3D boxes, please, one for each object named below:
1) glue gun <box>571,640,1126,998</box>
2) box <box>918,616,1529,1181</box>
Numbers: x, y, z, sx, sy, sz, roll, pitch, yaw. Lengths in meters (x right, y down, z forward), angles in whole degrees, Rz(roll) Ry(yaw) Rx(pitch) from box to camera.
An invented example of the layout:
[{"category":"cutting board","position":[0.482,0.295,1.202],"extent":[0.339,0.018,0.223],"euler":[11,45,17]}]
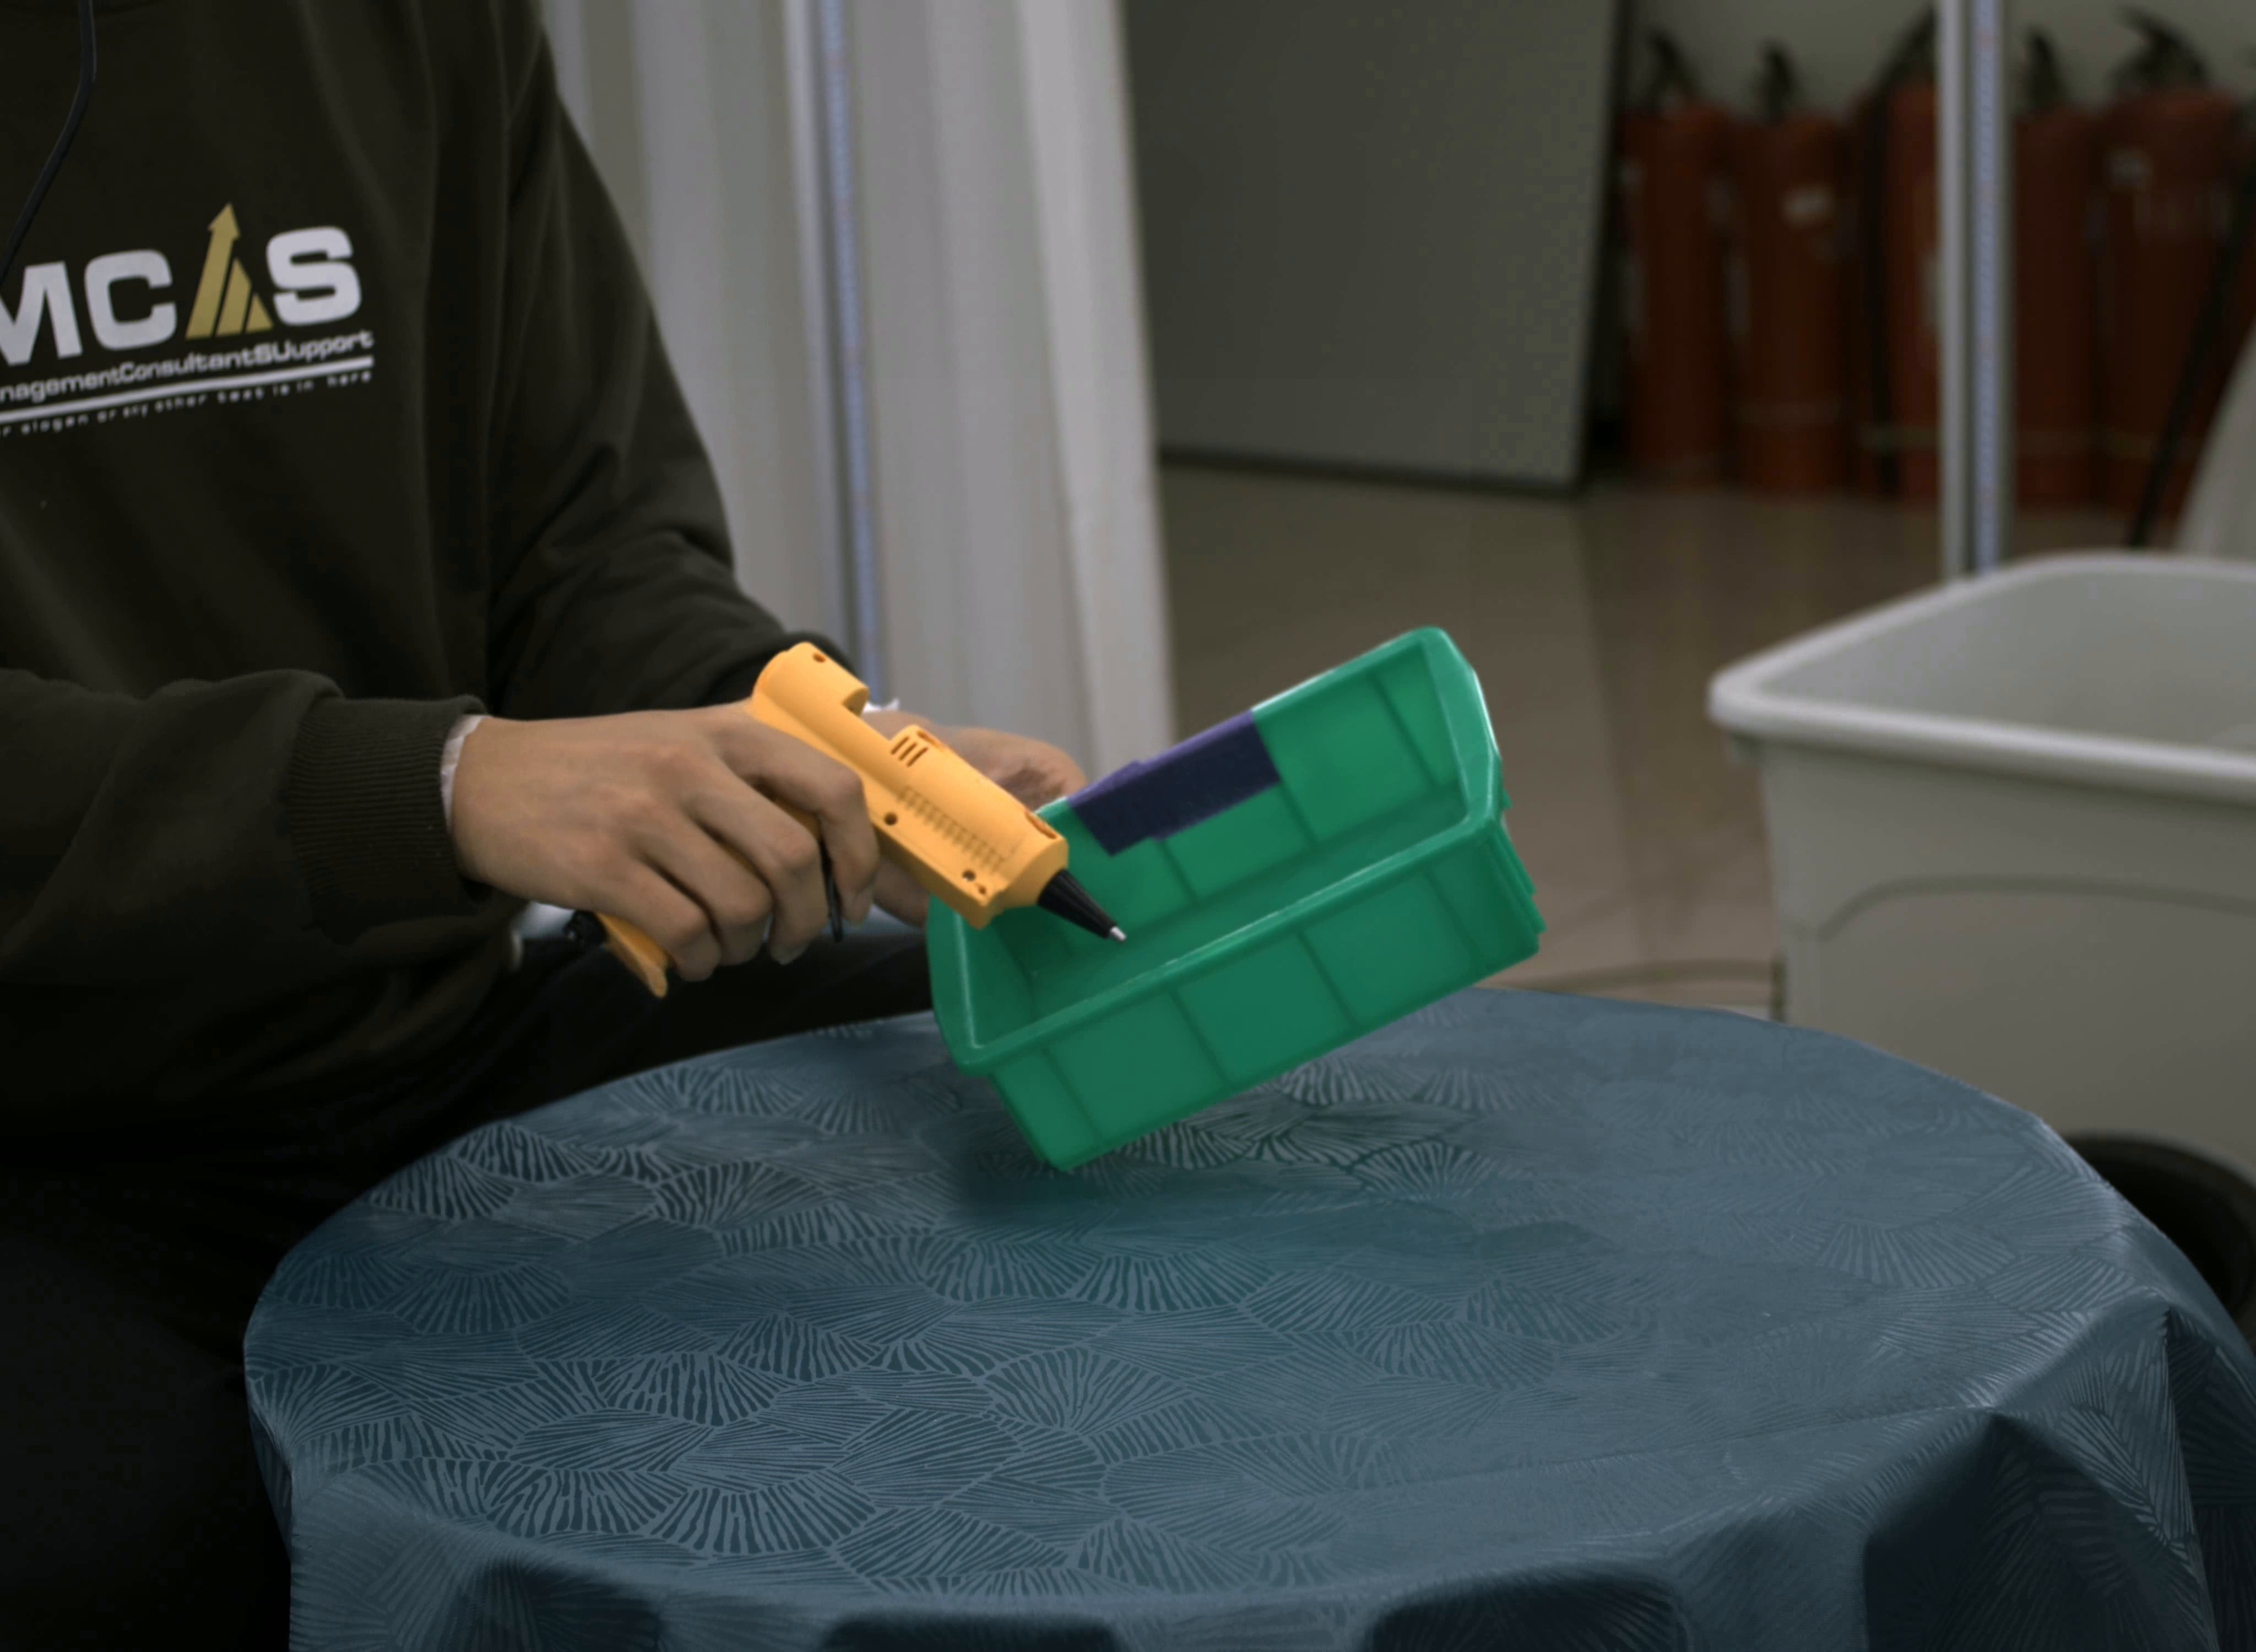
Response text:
[{"category":"glue gun","position":[-0.084,0.025,1.750],"extent":[0.151,0.031,0.132],"euler":[32,65,12]},{"category":"box","position":[0.035,0.028,1.822],"extent":[0.210,0.065,0.139],"euler":[-29,27,10]}]
